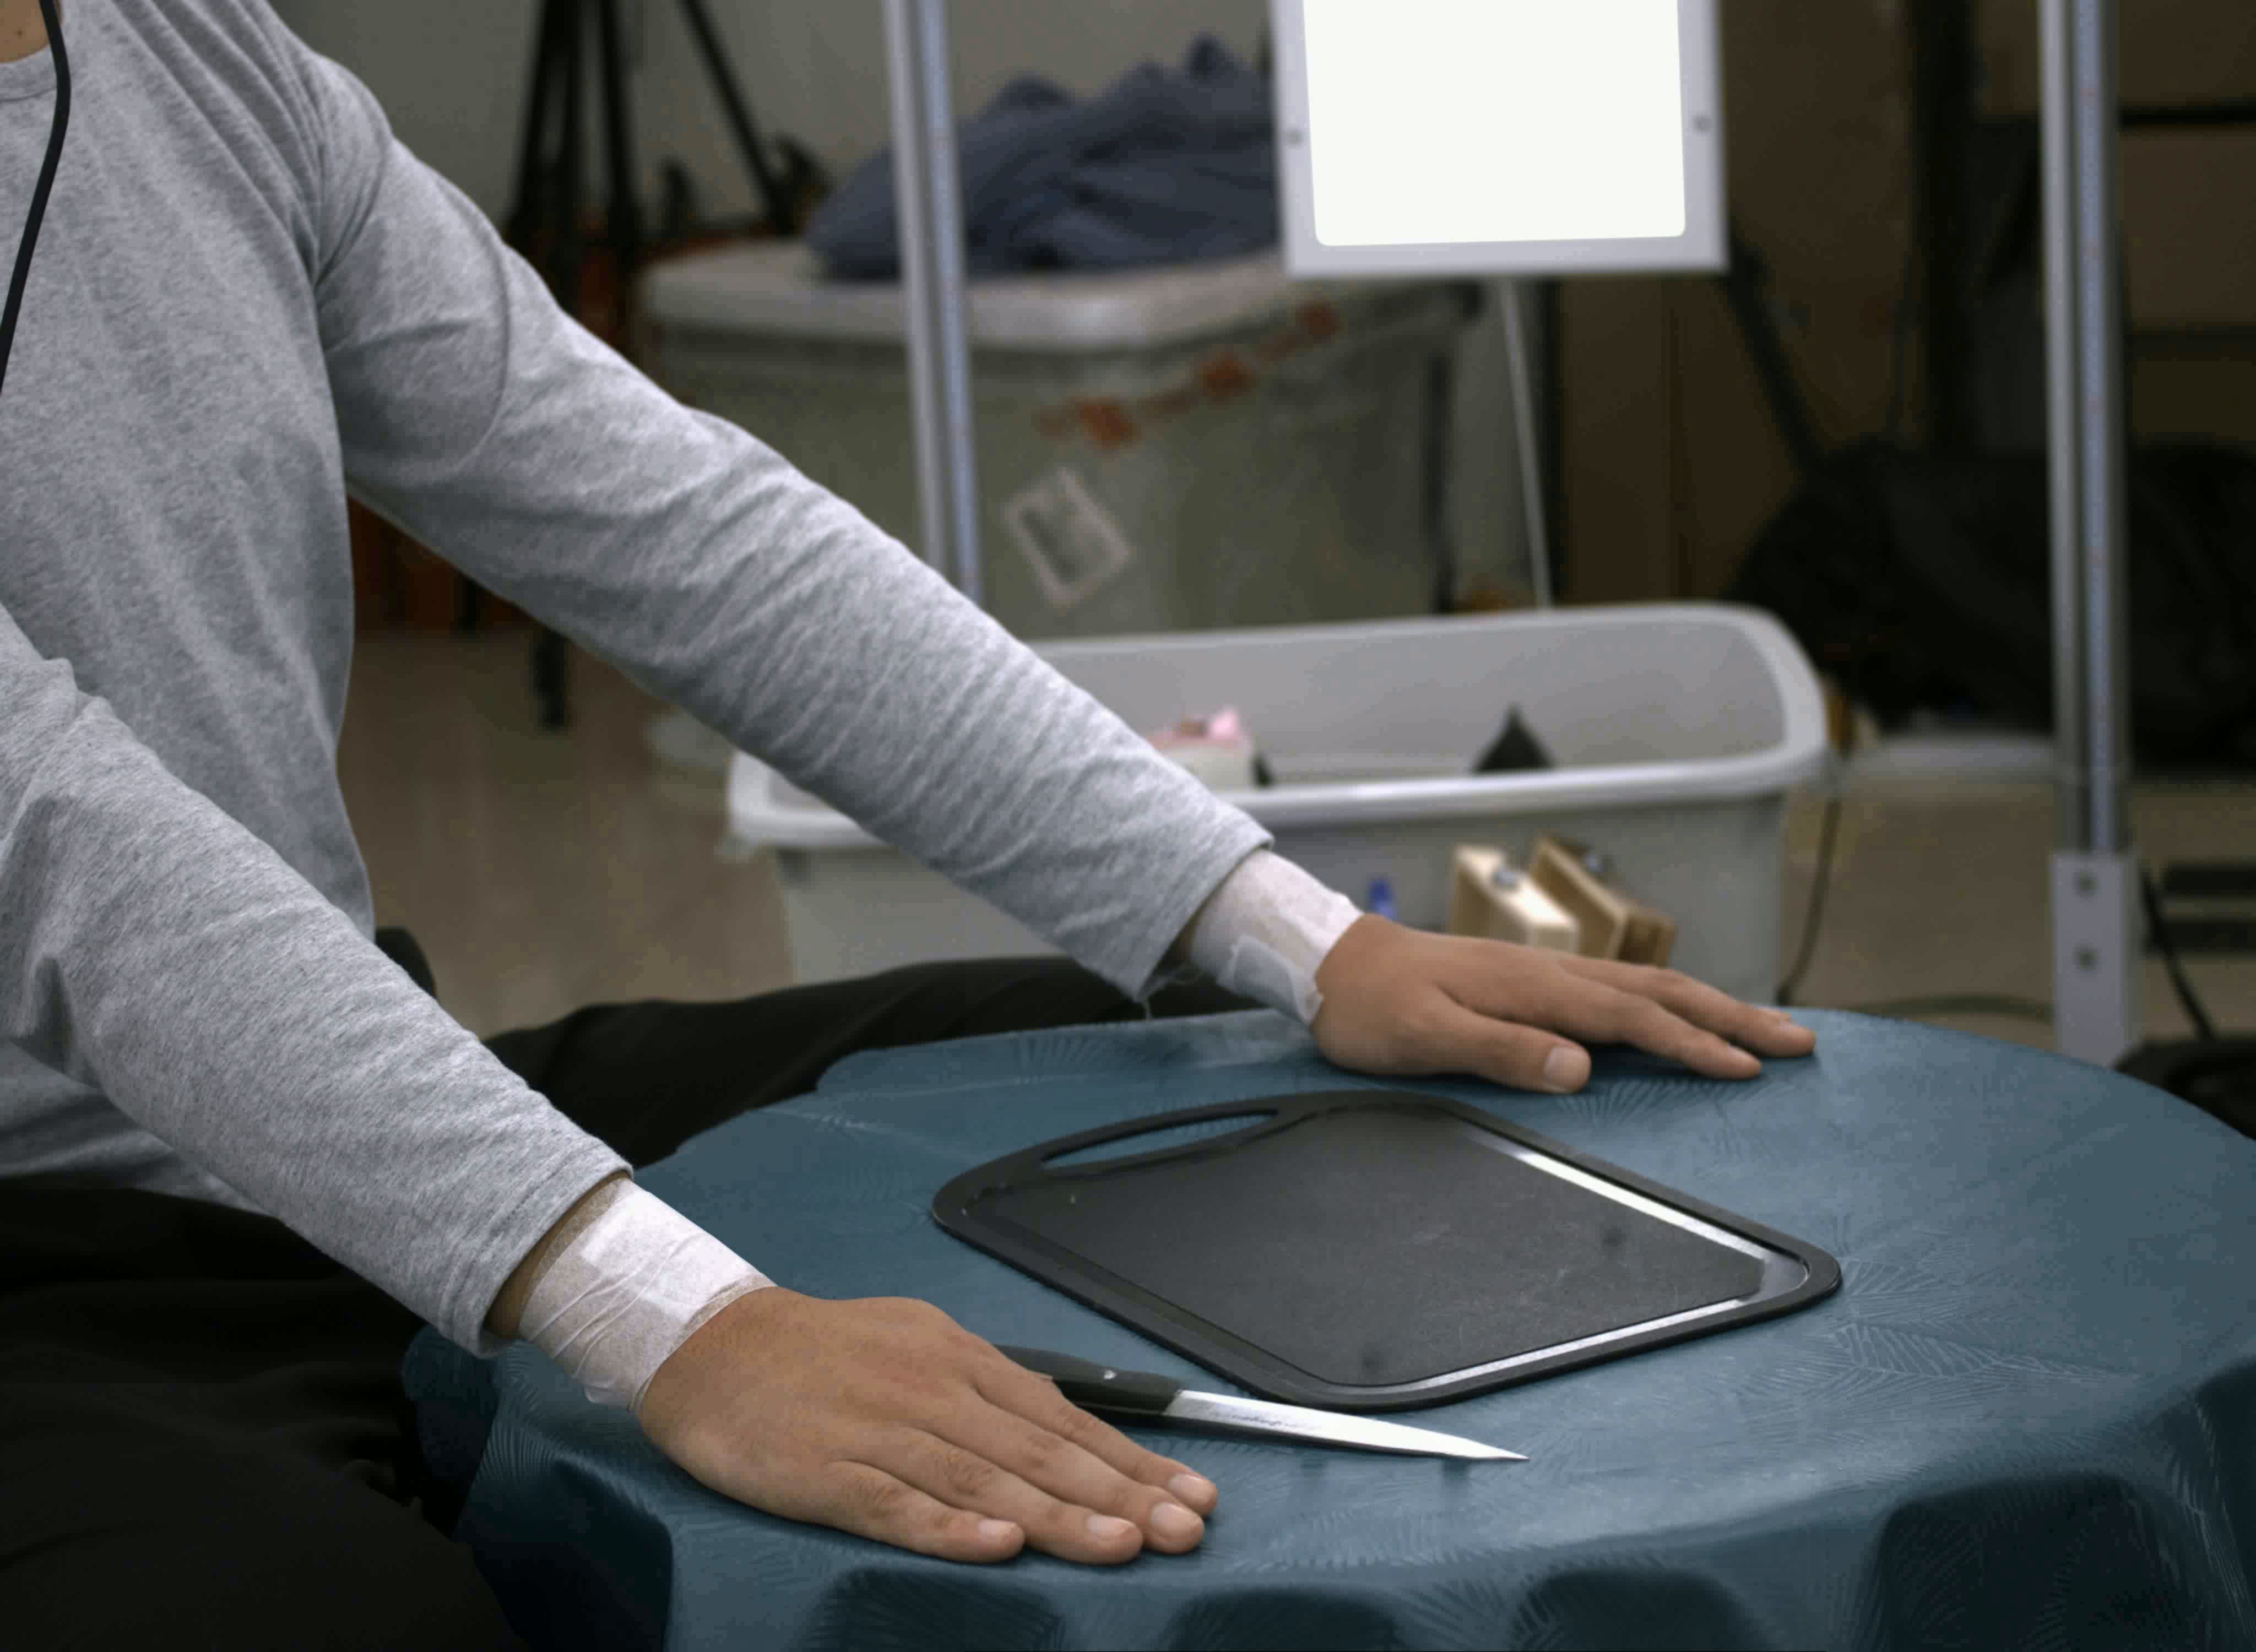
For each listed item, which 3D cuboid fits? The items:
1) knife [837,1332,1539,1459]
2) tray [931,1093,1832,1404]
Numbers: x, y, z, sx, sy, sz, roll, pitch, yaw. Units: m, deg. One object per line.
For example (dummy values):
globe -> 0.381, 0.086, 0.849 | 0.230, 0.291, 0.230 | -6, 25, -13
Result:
knife -> 0.014, 0.176, 1.672 | 0.242, 0.016, 0.024 | 5, 19, 28
tray -> 0.074, 0.134, 1.833 | 0.207, 0.010, 0.331 | -11, 15, -25
